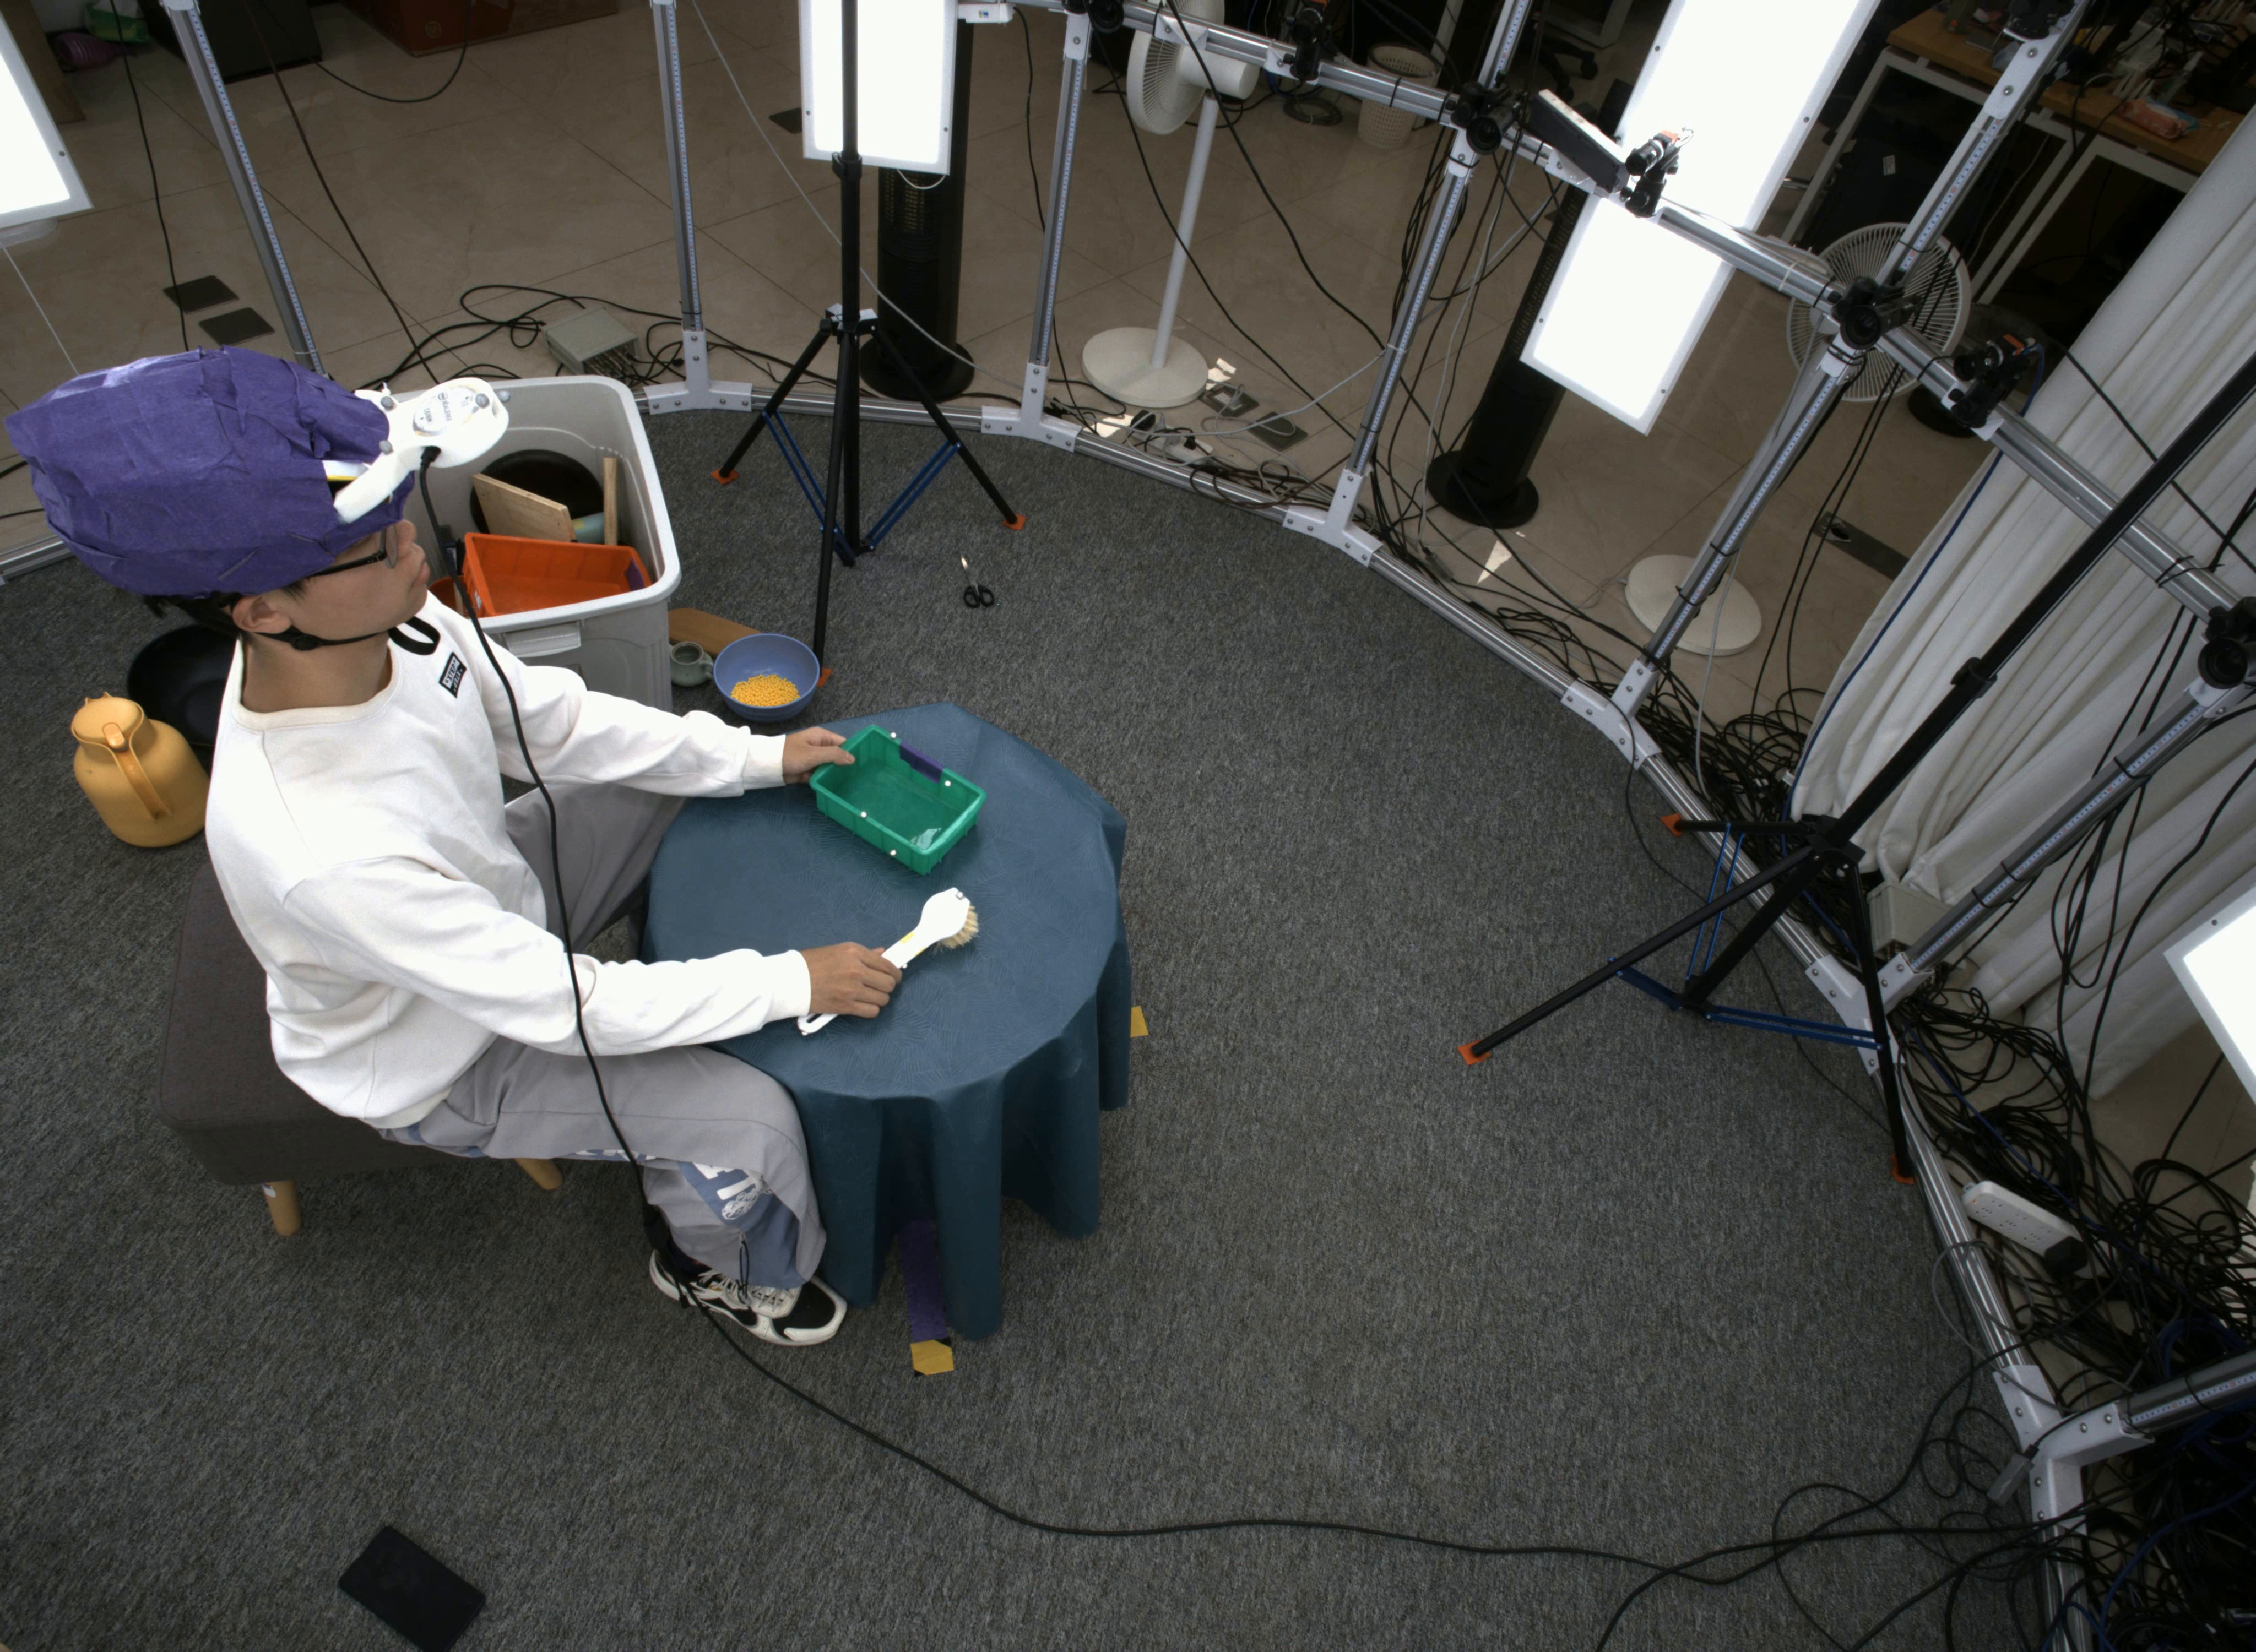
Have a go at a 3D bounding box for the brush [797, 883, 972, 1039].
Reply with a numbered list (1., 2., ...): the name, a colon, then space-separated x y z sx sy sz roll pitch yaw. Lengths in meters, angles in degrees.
1. brush: -0.301 0.174 1.621 0.066 0.058 0.266 36 70 29

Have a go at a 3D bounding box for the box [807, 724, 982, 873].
1. box: -0.312 -0.035 1.746 0.206 0.067 0.138 29 52 12
